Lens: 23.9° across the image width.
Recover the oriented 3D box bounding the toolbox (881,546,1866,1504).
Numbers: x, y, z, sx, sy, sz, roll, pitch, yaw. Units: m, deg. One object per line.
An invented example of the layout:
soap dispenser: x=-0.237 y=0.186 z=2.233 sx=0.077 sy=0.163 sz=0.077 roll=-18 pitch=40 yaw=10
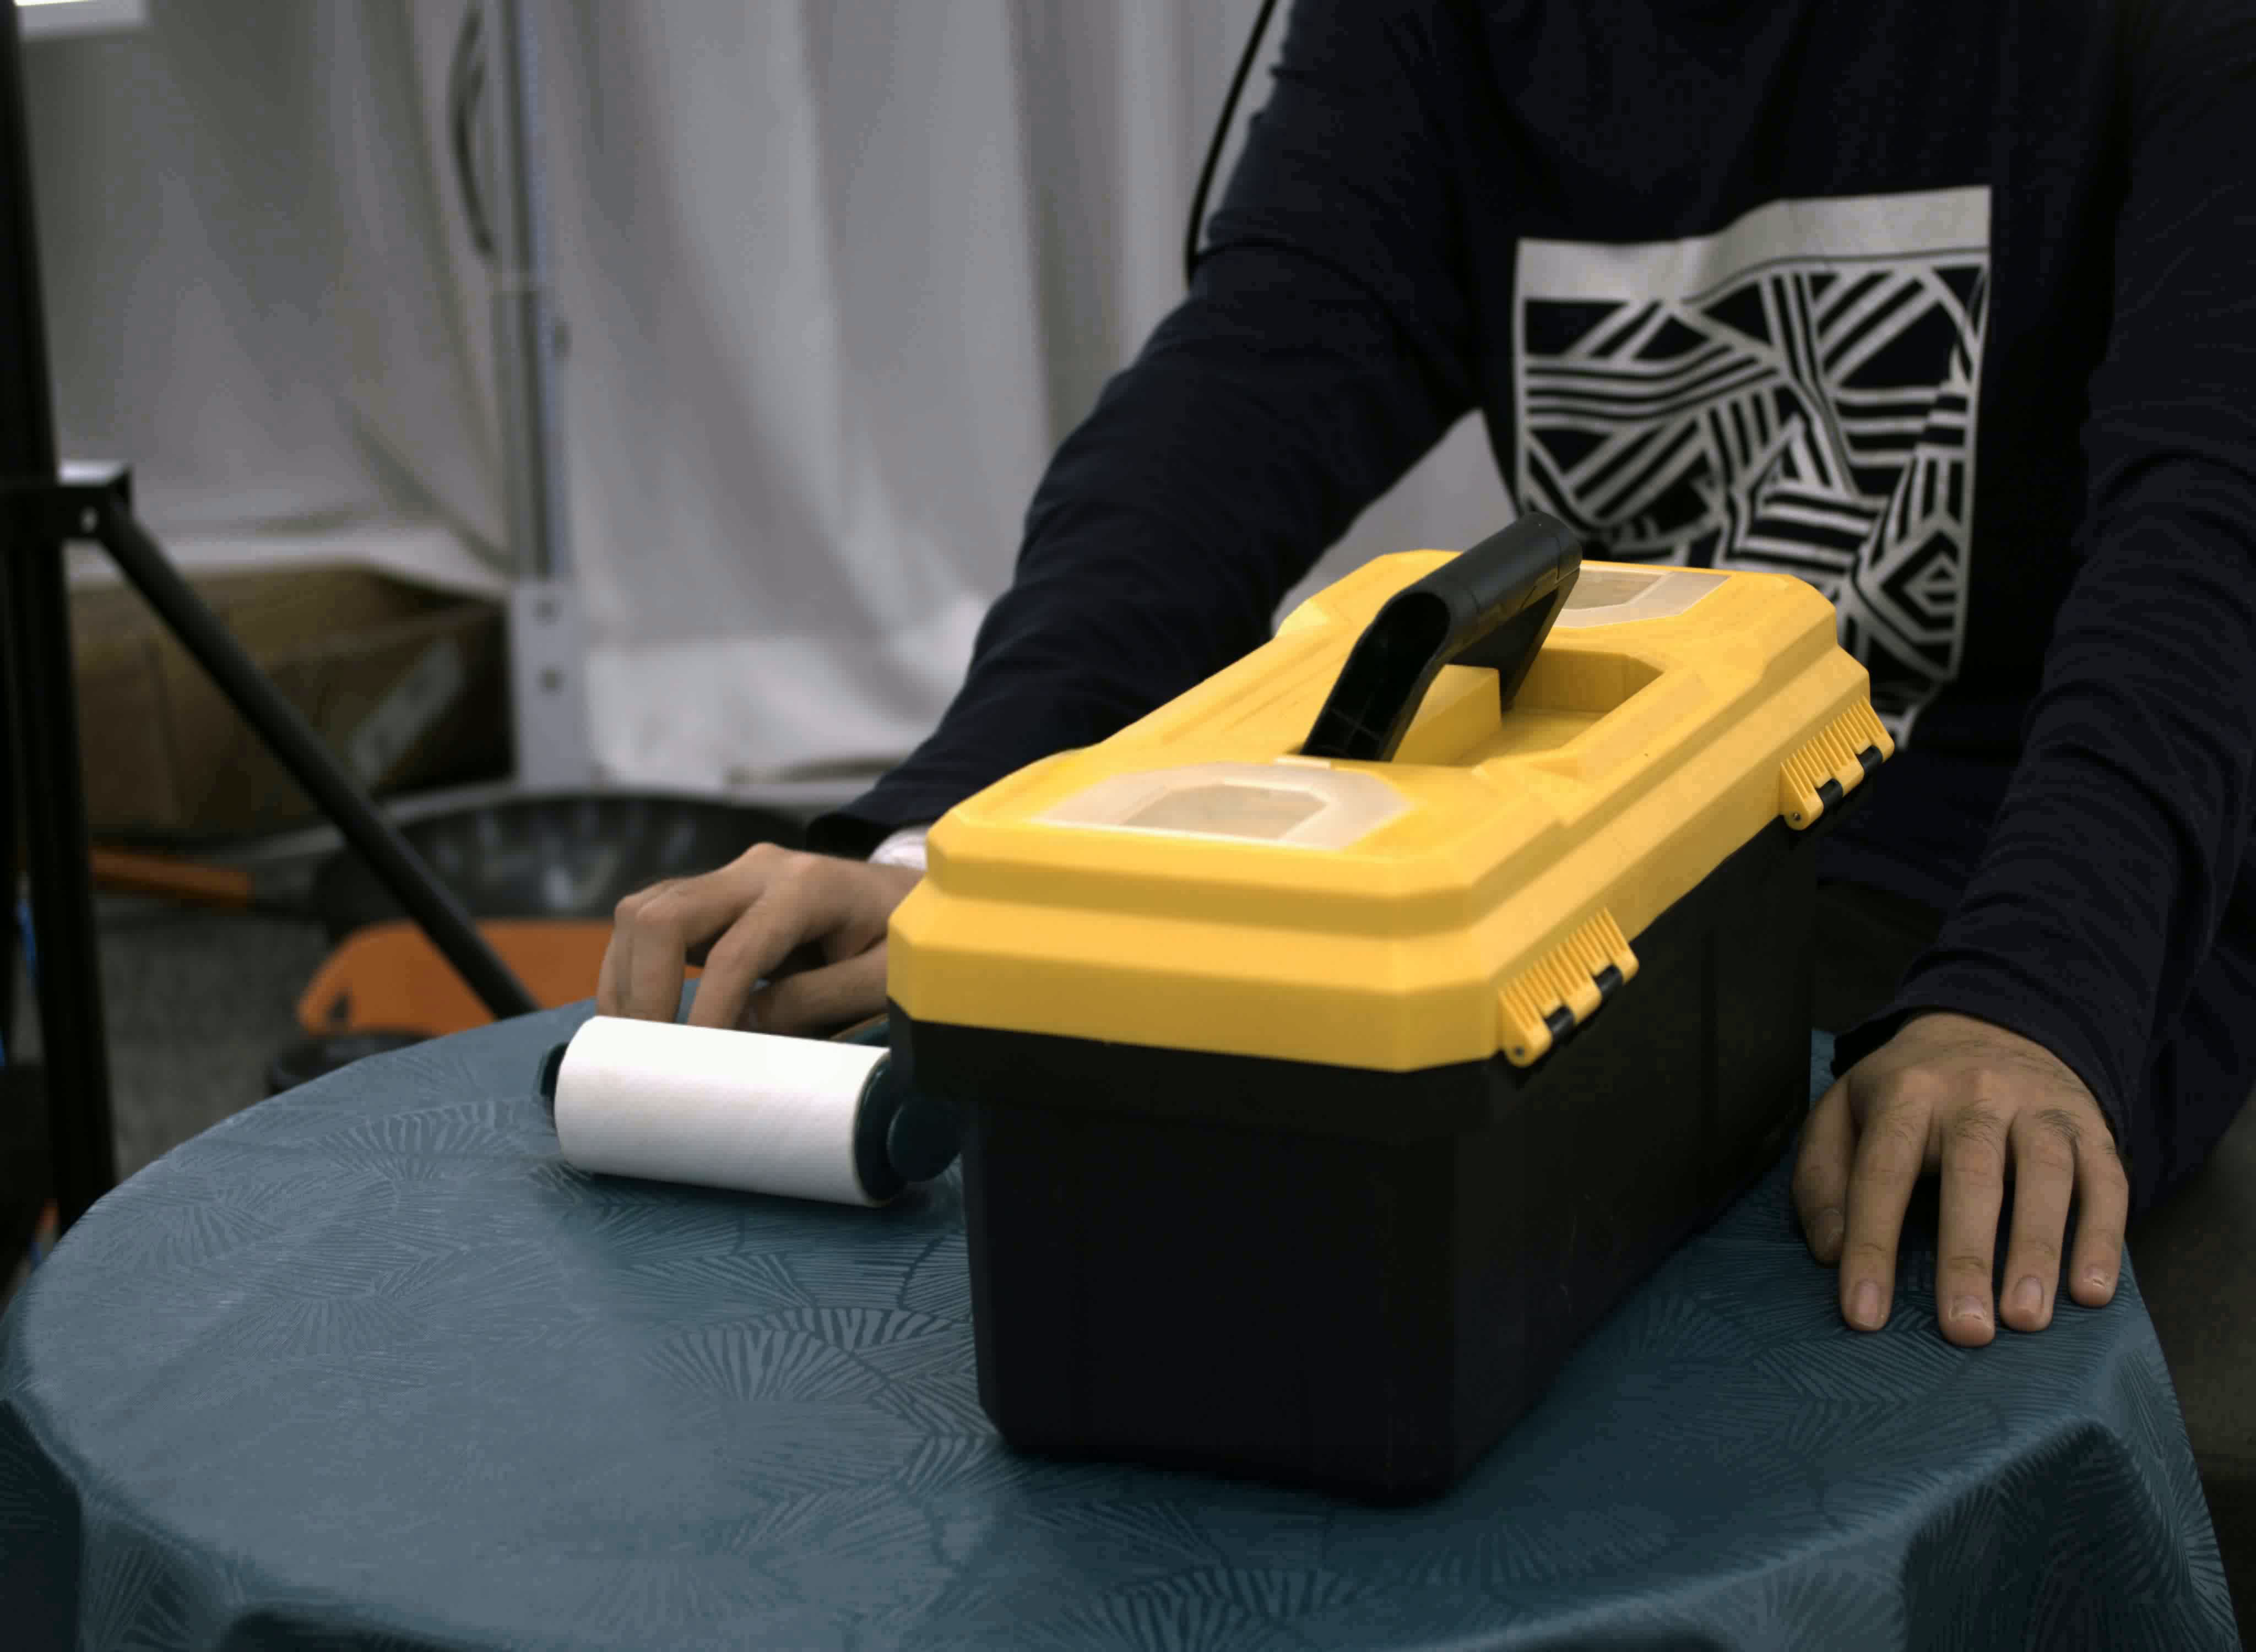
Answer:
toolbox: x=0.077 y=0.044 z=1.458 sx=0.184 sy=0.173 sz=0.346 roll=6 pitch=17 yaw=24

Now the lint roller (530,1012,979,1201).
lint roller: x=-0.089 y=0.071 z=1.637 sx=0.136 sy=0.048 sz=0.177 roll=4 pitch=13 yaw=24
